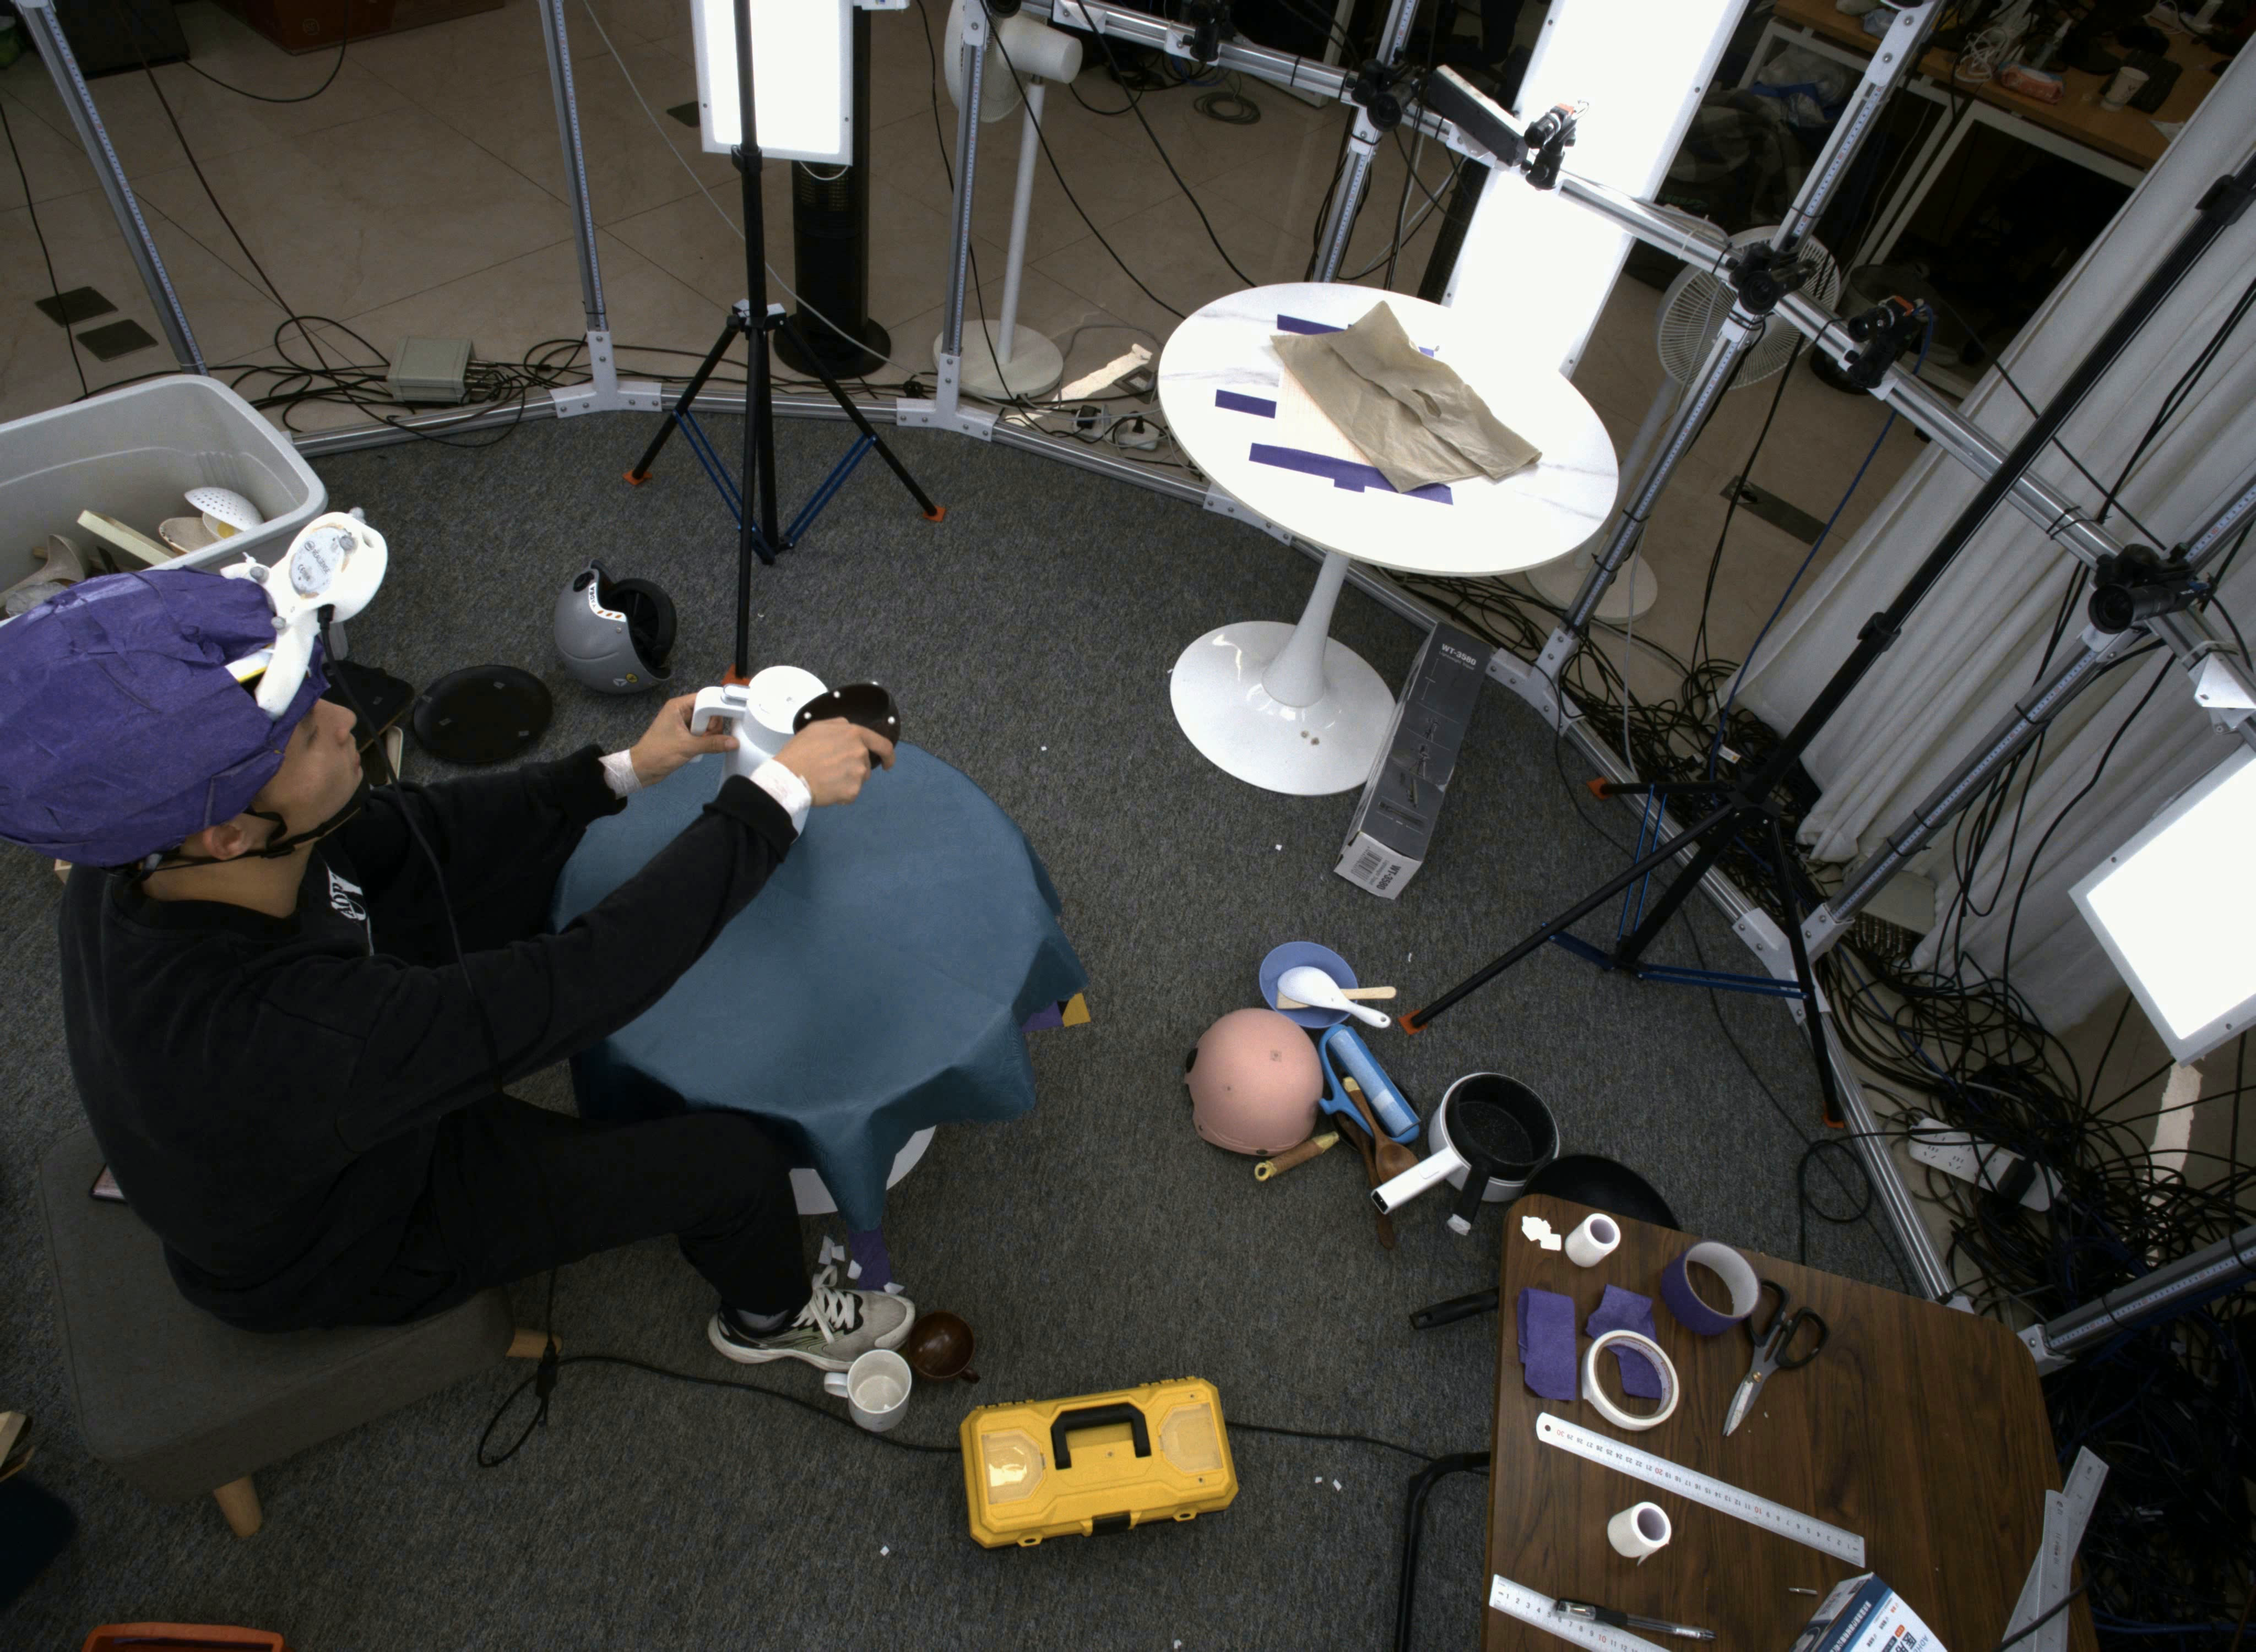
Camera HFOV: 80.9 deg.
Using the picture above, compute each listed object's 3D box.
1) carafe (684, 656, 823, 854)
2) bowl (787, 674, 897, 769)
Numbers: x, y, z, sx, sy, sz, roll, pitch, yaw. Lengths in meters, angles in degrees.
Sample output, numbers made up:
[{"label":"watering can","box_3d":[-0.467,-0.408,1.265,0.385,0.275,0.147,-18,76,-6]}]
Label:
[{"label":"carafe","box_3d":[-0.457,-0.084,1.590,0.174,0.270,0.122,6,58,-21]},{"label":"bowl","box_3d":[-0.311,-0.108,1.435,0.116,0.072,0.115,-7,39,7]}]
